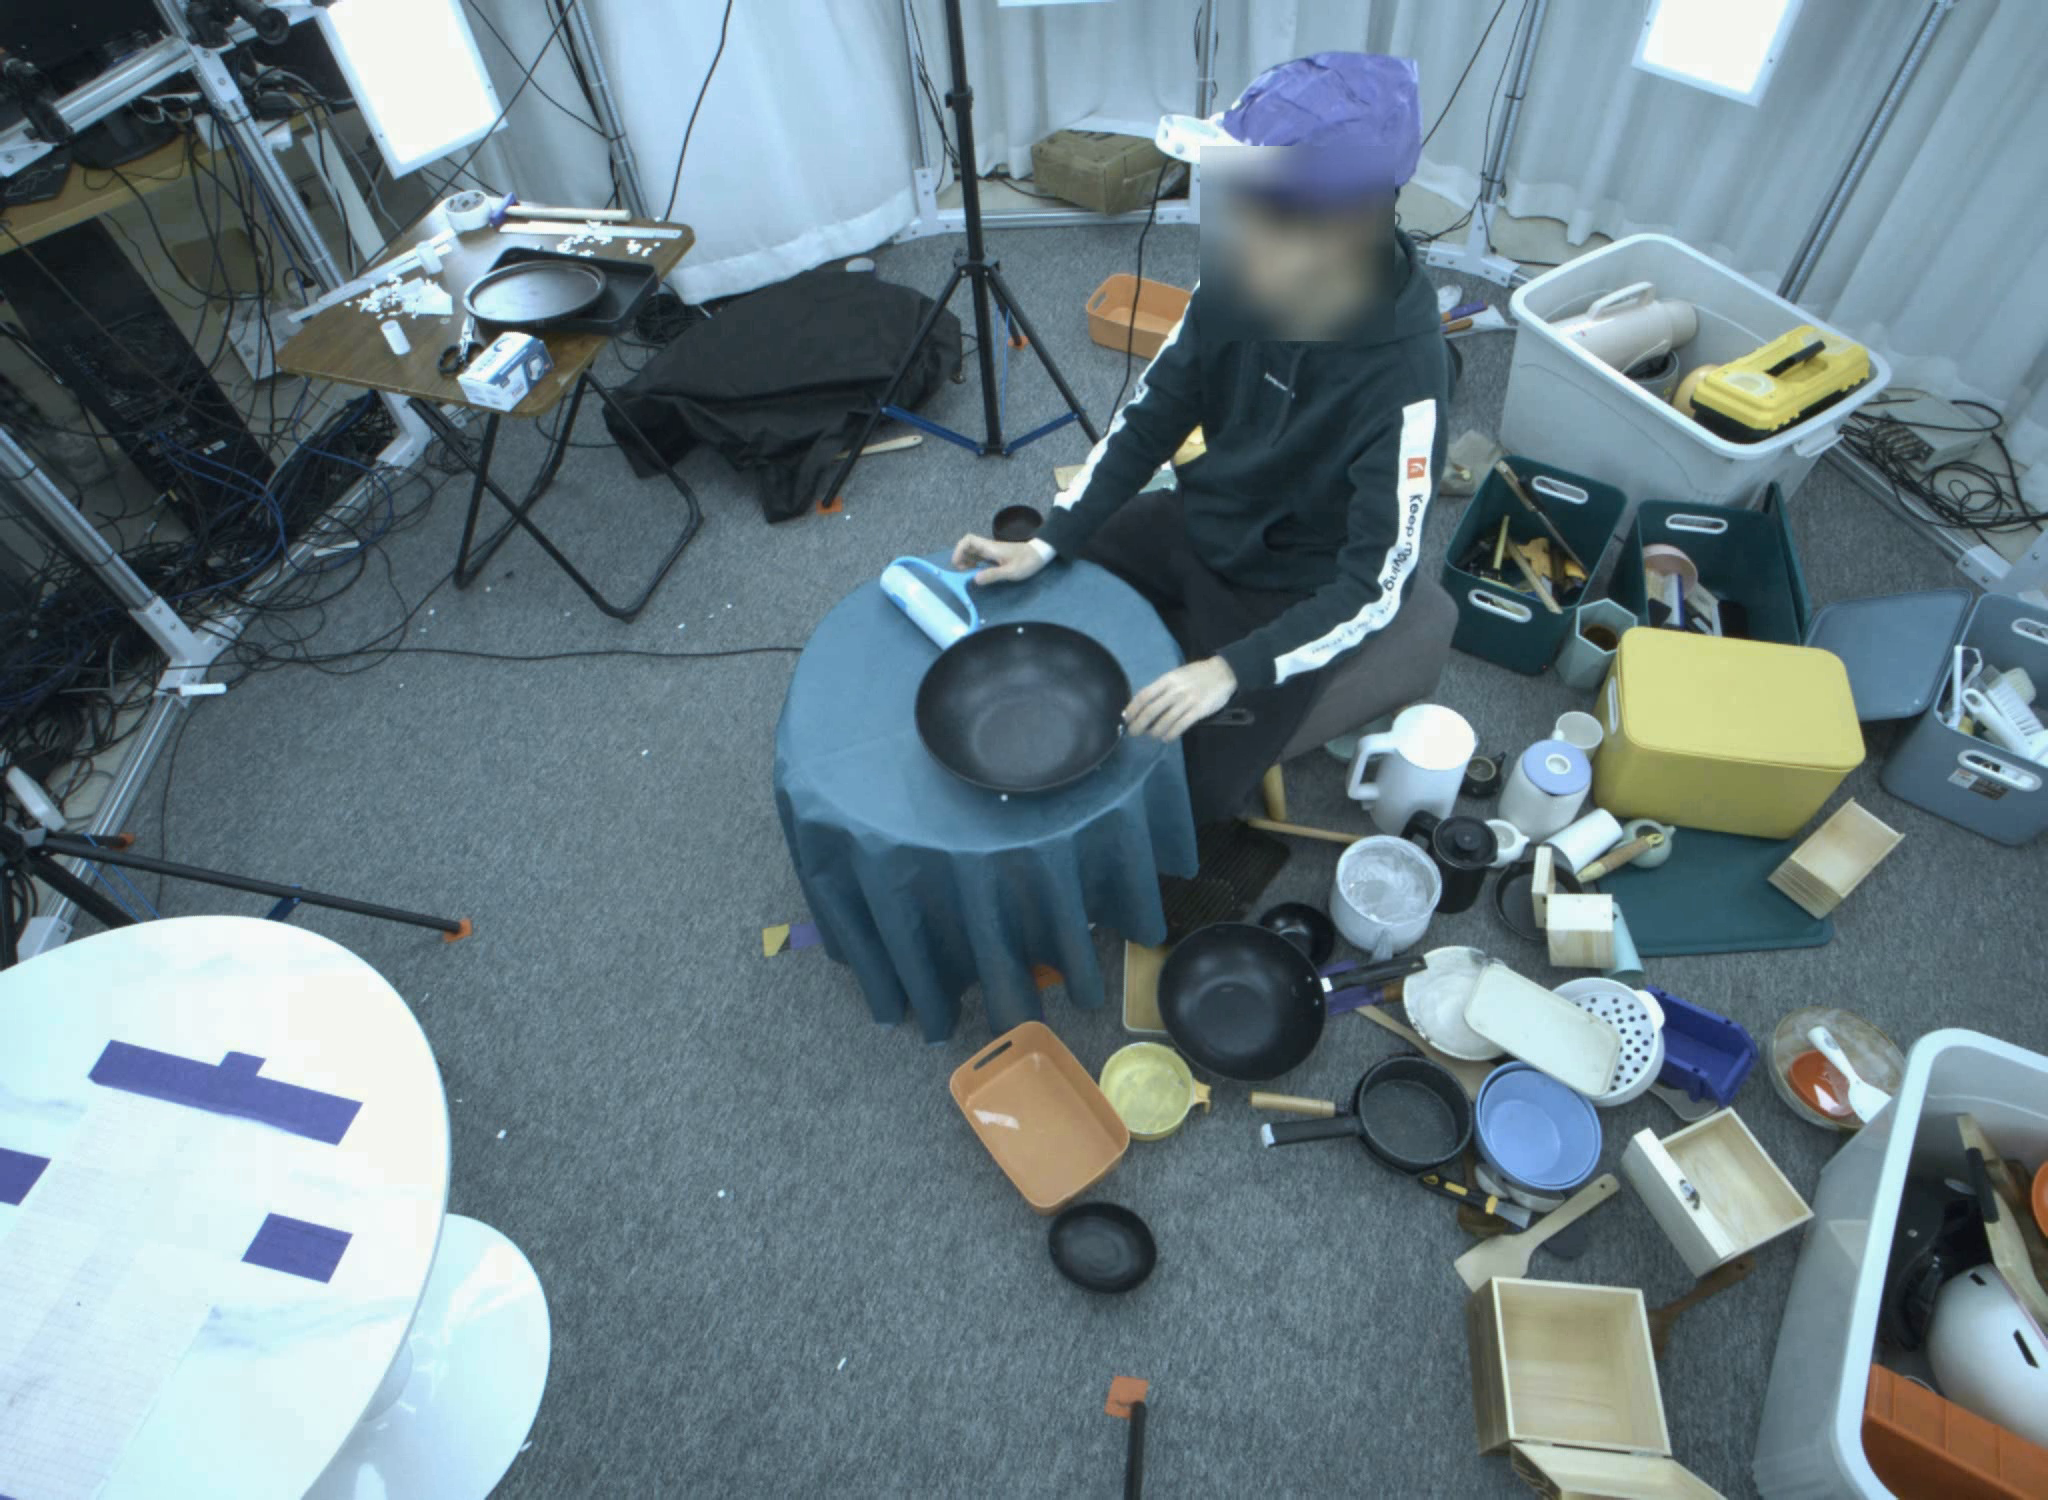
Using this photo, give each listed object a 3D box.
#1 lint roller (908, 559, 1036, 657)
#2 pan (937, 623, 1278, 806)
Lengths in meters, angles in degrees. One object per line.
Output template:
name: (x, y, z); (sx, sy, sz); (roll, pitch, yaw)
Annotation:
lint roller: (-0.059, -0.245, 1.925); (0.181, 0.069, 0.224); (-36, 59, -21)
pan: (0.115, -0.032, 1.736); (0.474, 0.113, 0.308); (8, 57, 8)
